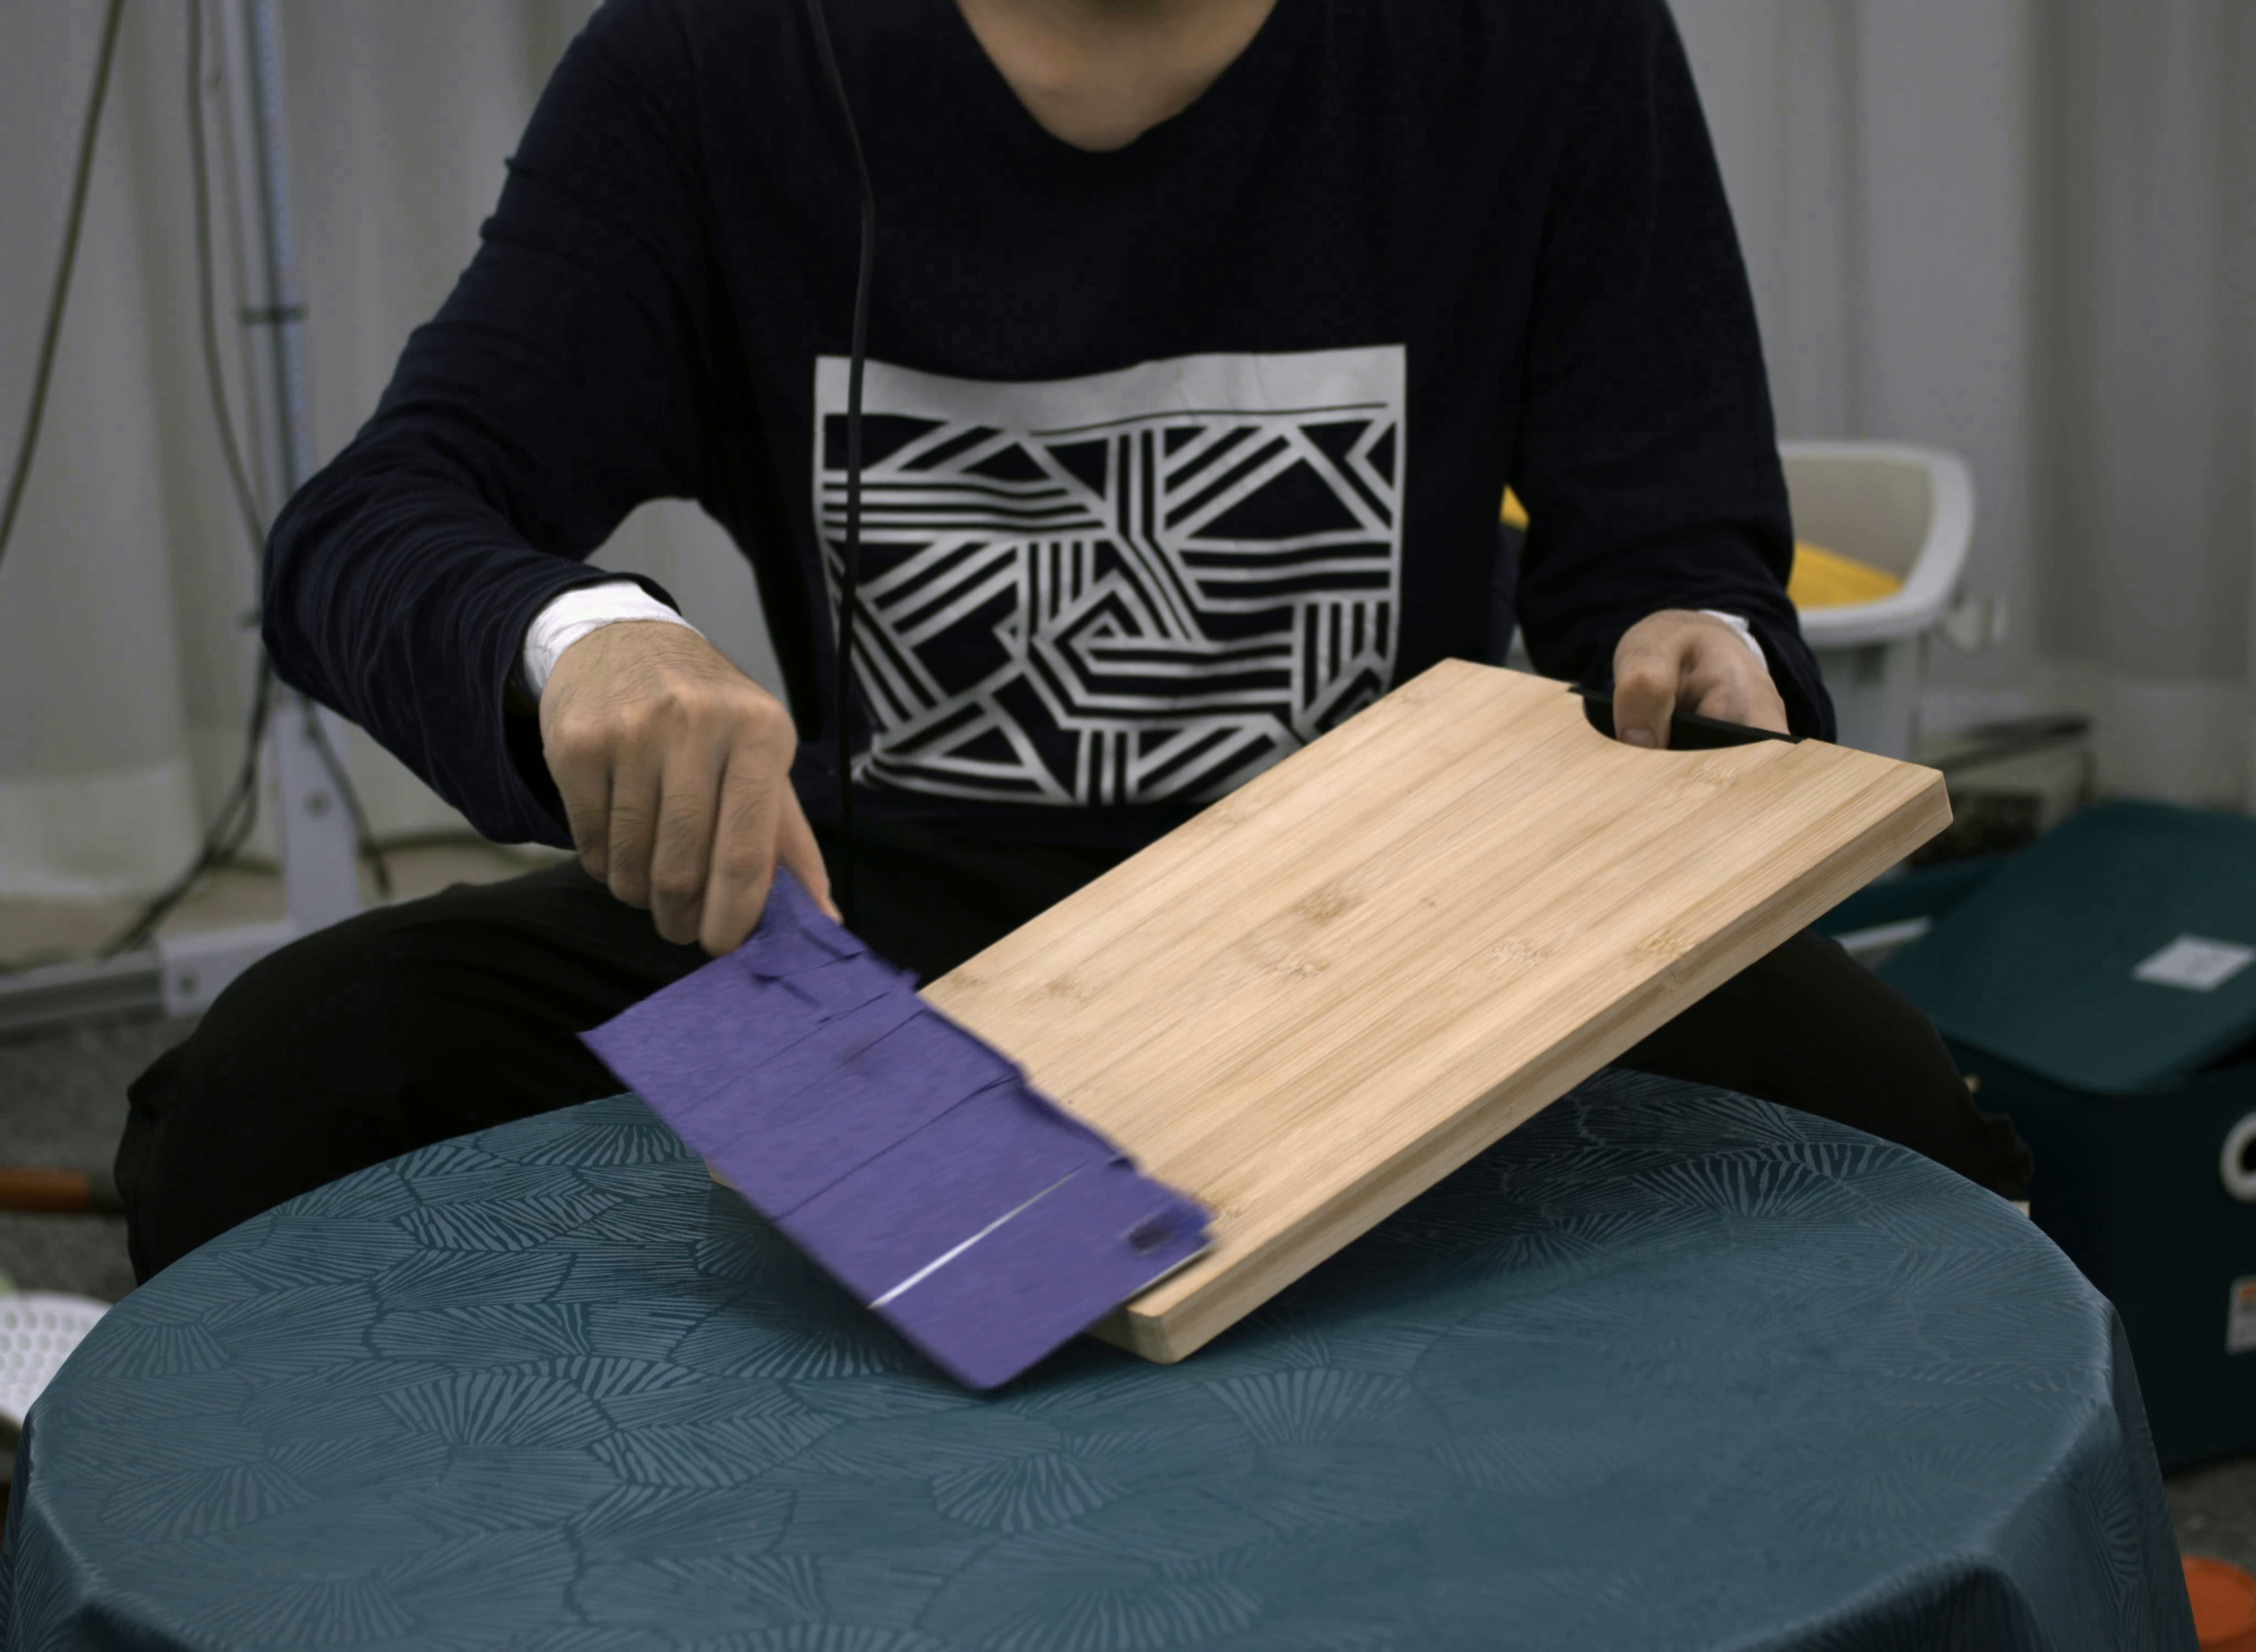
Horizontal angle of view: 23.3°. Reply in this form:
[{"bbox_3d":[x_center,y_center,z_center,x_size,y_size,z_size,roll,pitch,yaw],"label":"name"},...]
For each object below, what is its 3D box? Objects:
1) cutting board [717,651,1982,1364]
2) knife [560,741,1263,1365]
[{"bbox_3d":[0.066,0.047,1.737,0.349,0.023,0.252,-32,28,-30],"label":"cutting board"},{"bbox_3d":[-0.097,0.064,1.659,0.104,0.032,0.318,-30,42,-27],"label":"knife"}]
